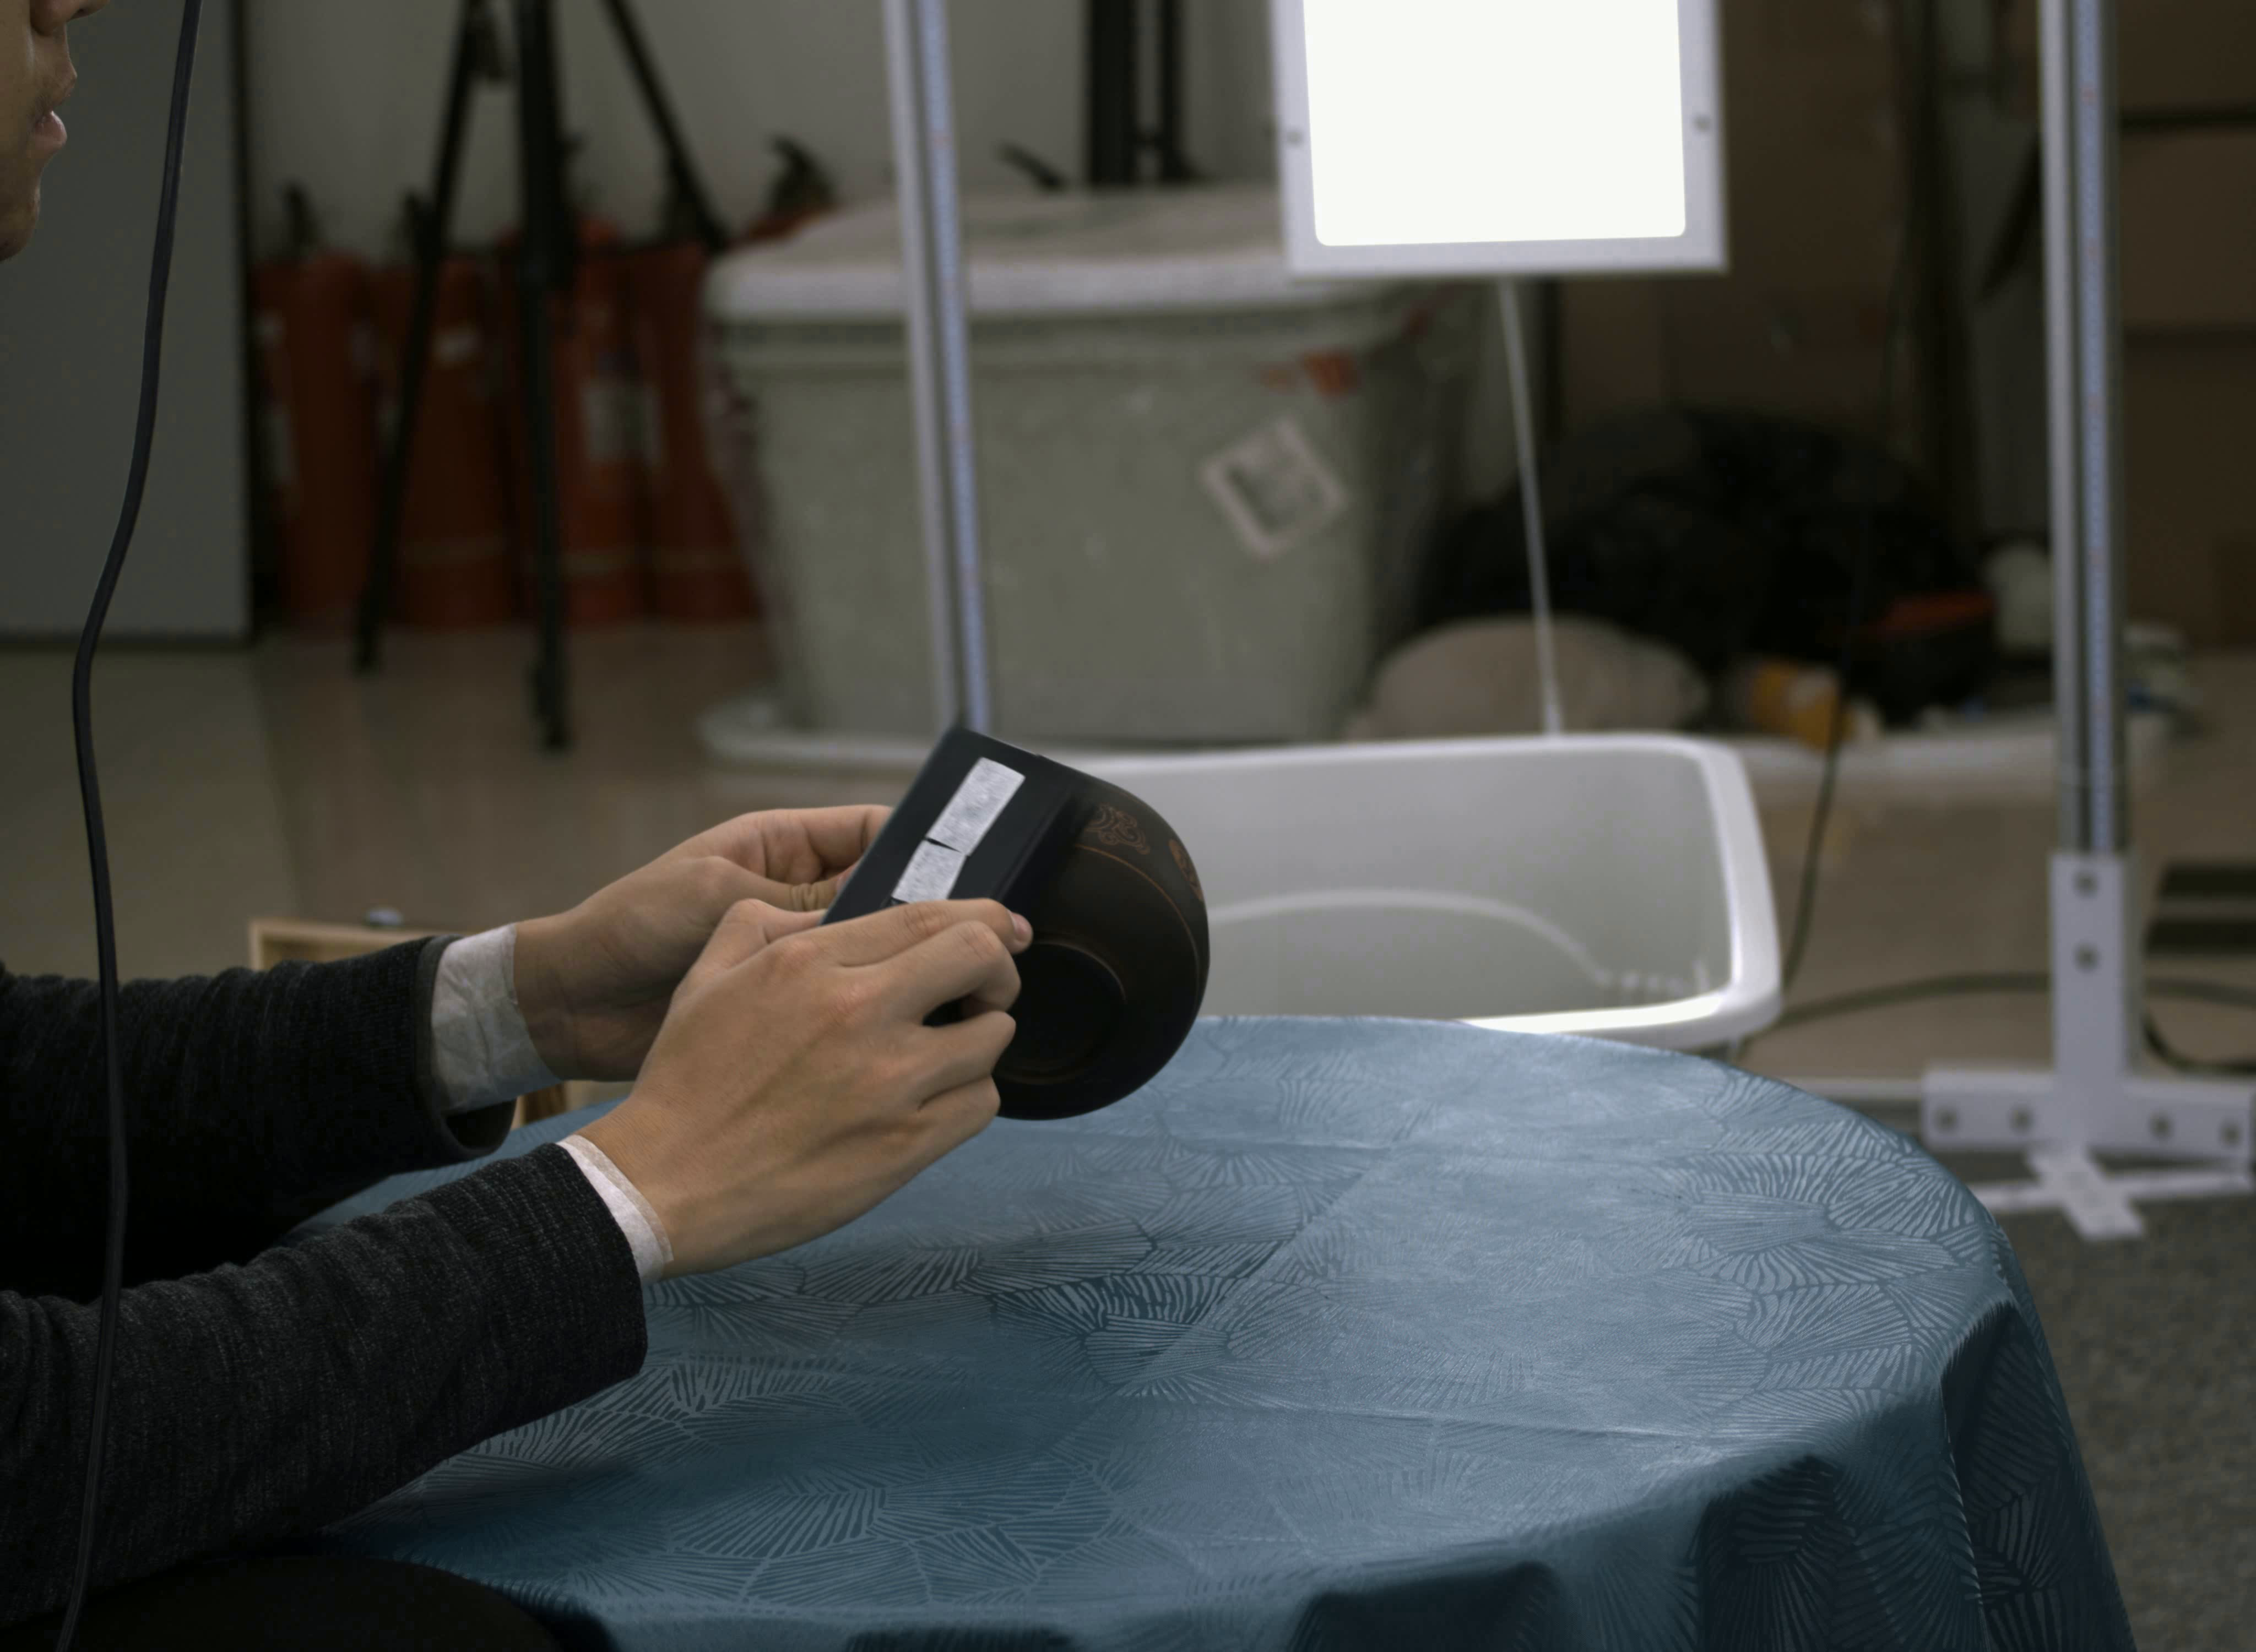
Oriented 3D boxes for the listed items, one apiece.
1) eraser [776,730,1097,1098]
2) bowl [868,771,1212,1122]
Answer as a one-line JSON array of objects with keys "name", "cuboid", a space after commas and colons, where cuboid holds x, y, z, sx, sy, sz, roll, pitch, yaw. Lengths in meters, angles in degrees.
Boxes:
[{"name": "eraser", "cuboid": [-0.060, 0.026, 1.753, 0.054, 0.030, 0.124, 17, 58, 23]}, {"name": "bowl", "cuboid": [-0.030, 0.046, 1.818, 0.118, 0.118, 0.070, -4, 29, 0]}]
